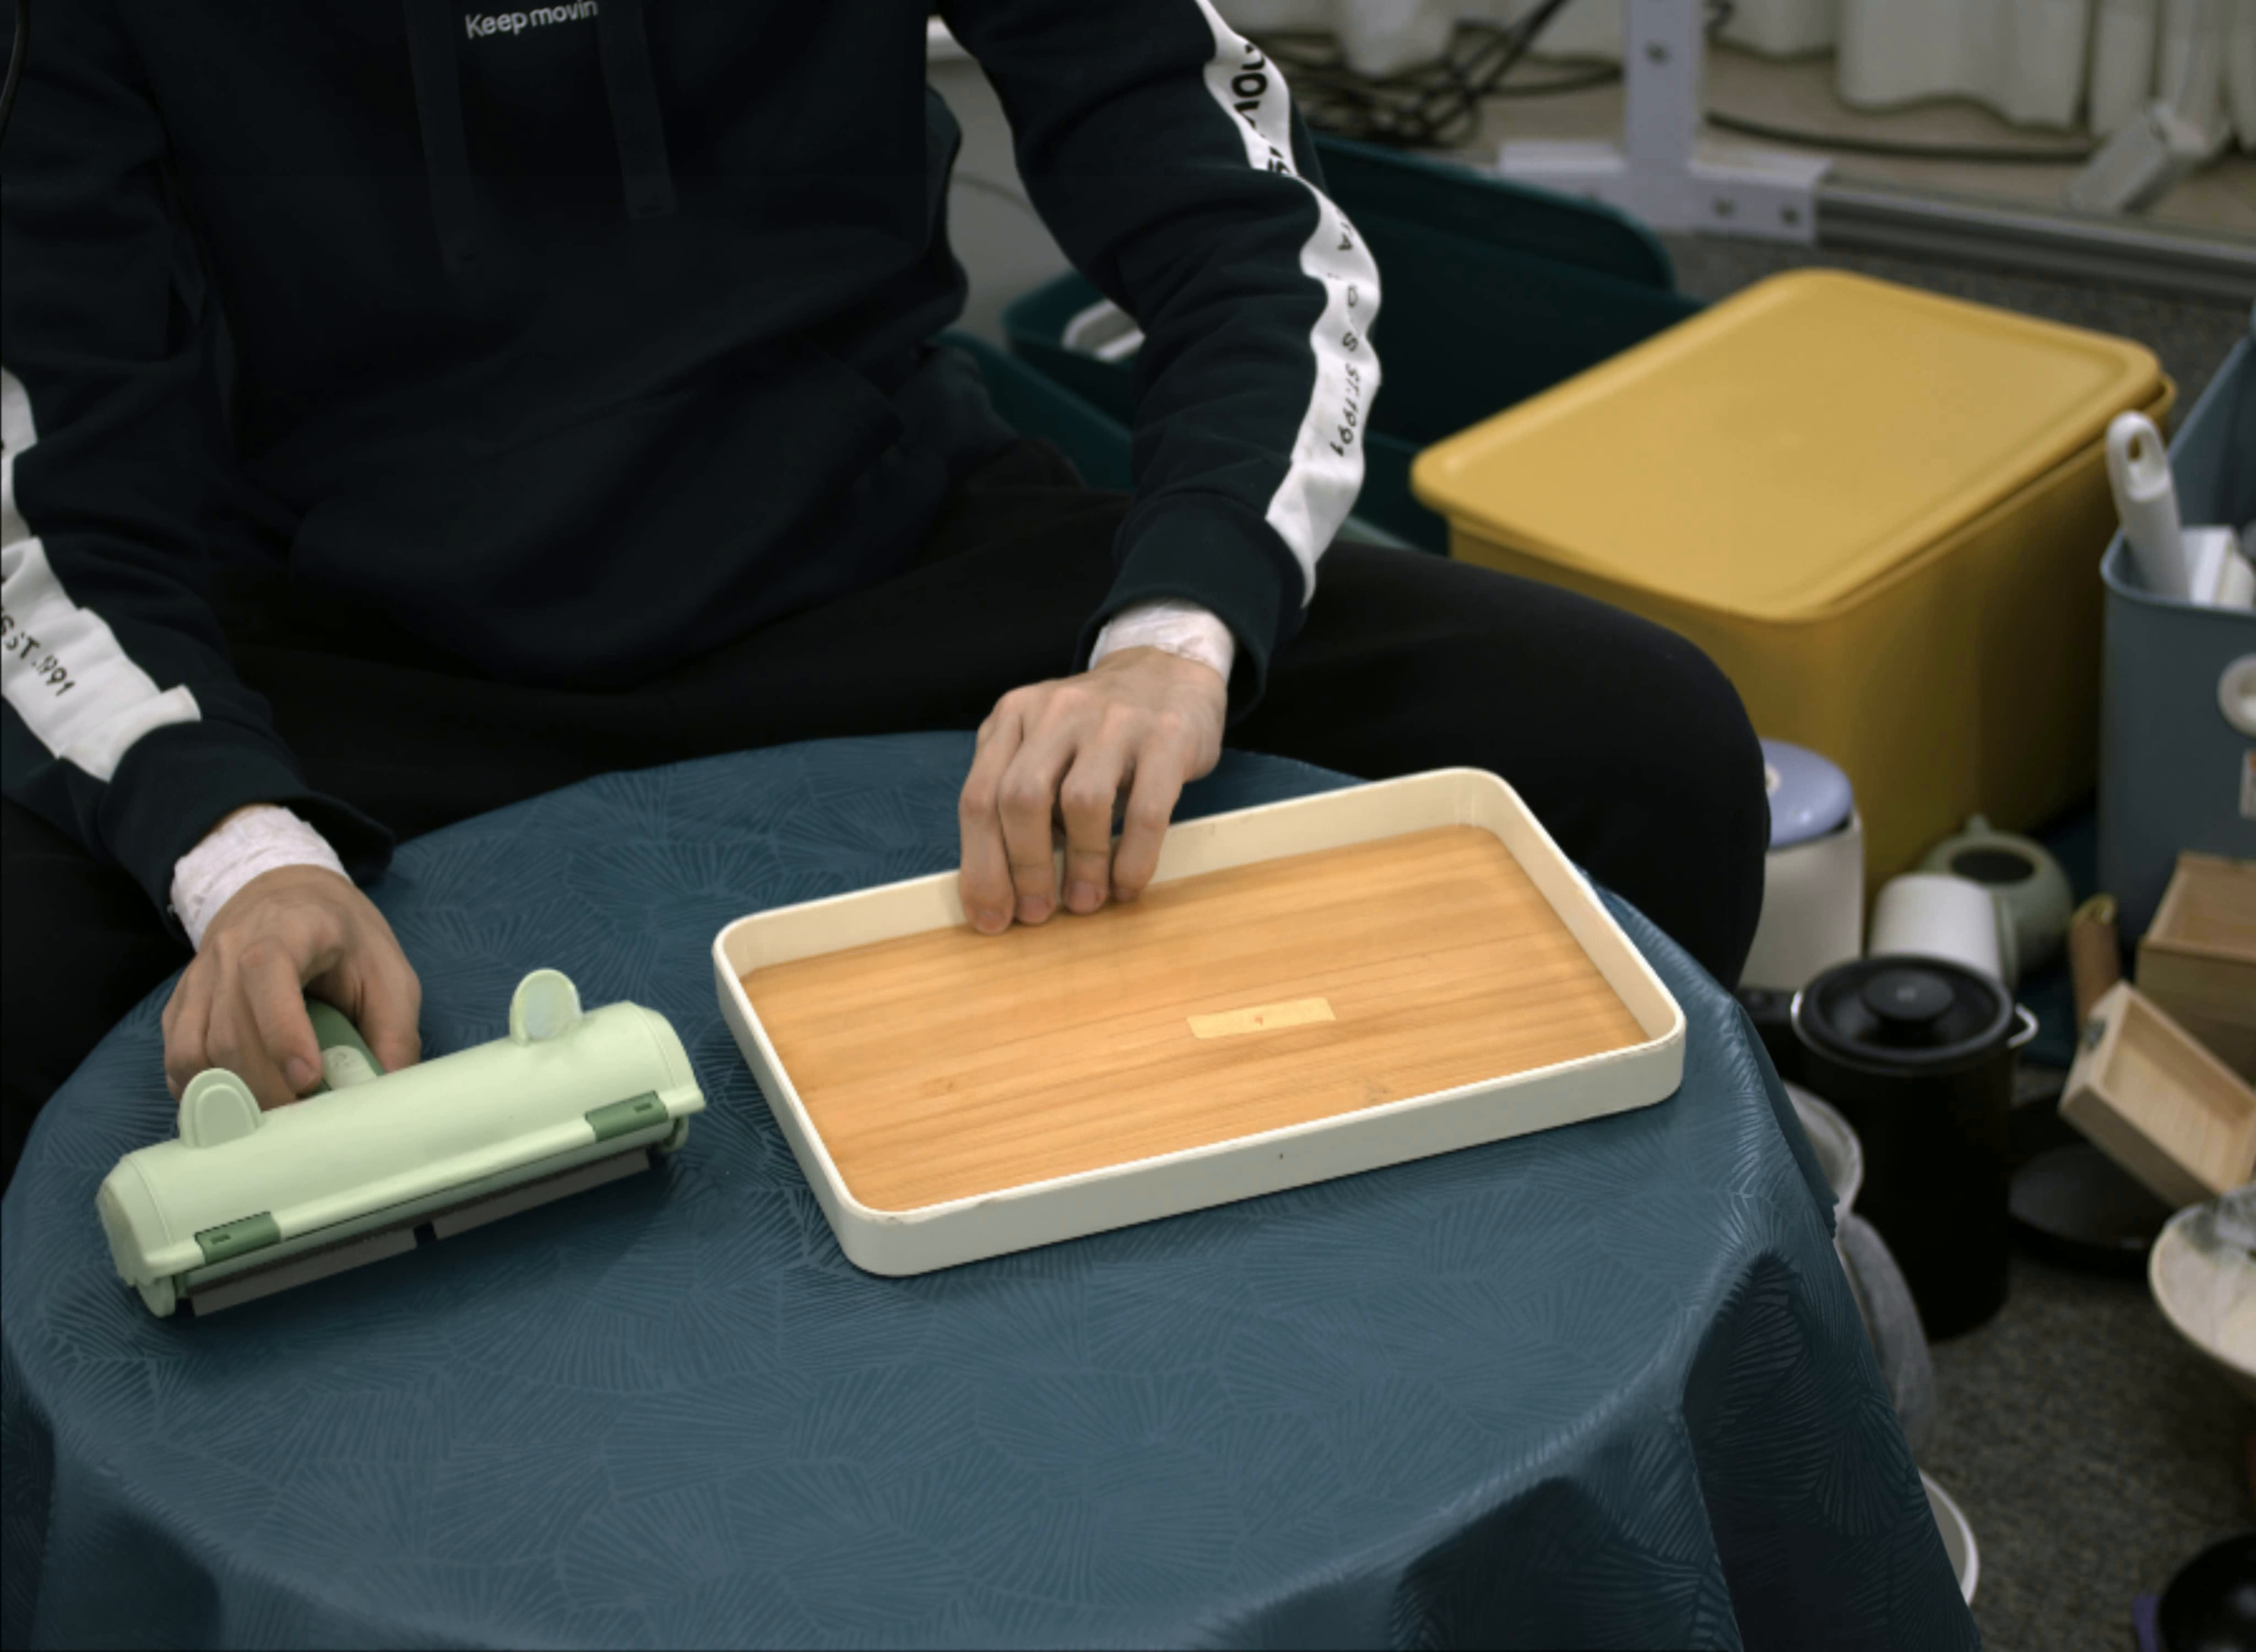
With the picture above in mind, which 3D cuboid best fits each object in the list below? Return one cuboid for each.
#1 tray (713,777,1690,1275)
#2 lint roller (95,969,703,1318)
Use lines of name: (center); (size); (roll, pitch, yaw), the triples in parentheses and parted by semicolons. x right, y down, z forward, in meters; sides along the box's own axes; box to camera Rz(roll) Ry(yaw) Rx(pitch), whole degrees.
tray: (0.023, 0.065, 1.925); (0.301, 0.027, 0.193); (-11, 32, -16)
lint roller: (-0.264, 0.078, 1.884); (0.199, 0.081, 0.184); (-16, 35, -23)
